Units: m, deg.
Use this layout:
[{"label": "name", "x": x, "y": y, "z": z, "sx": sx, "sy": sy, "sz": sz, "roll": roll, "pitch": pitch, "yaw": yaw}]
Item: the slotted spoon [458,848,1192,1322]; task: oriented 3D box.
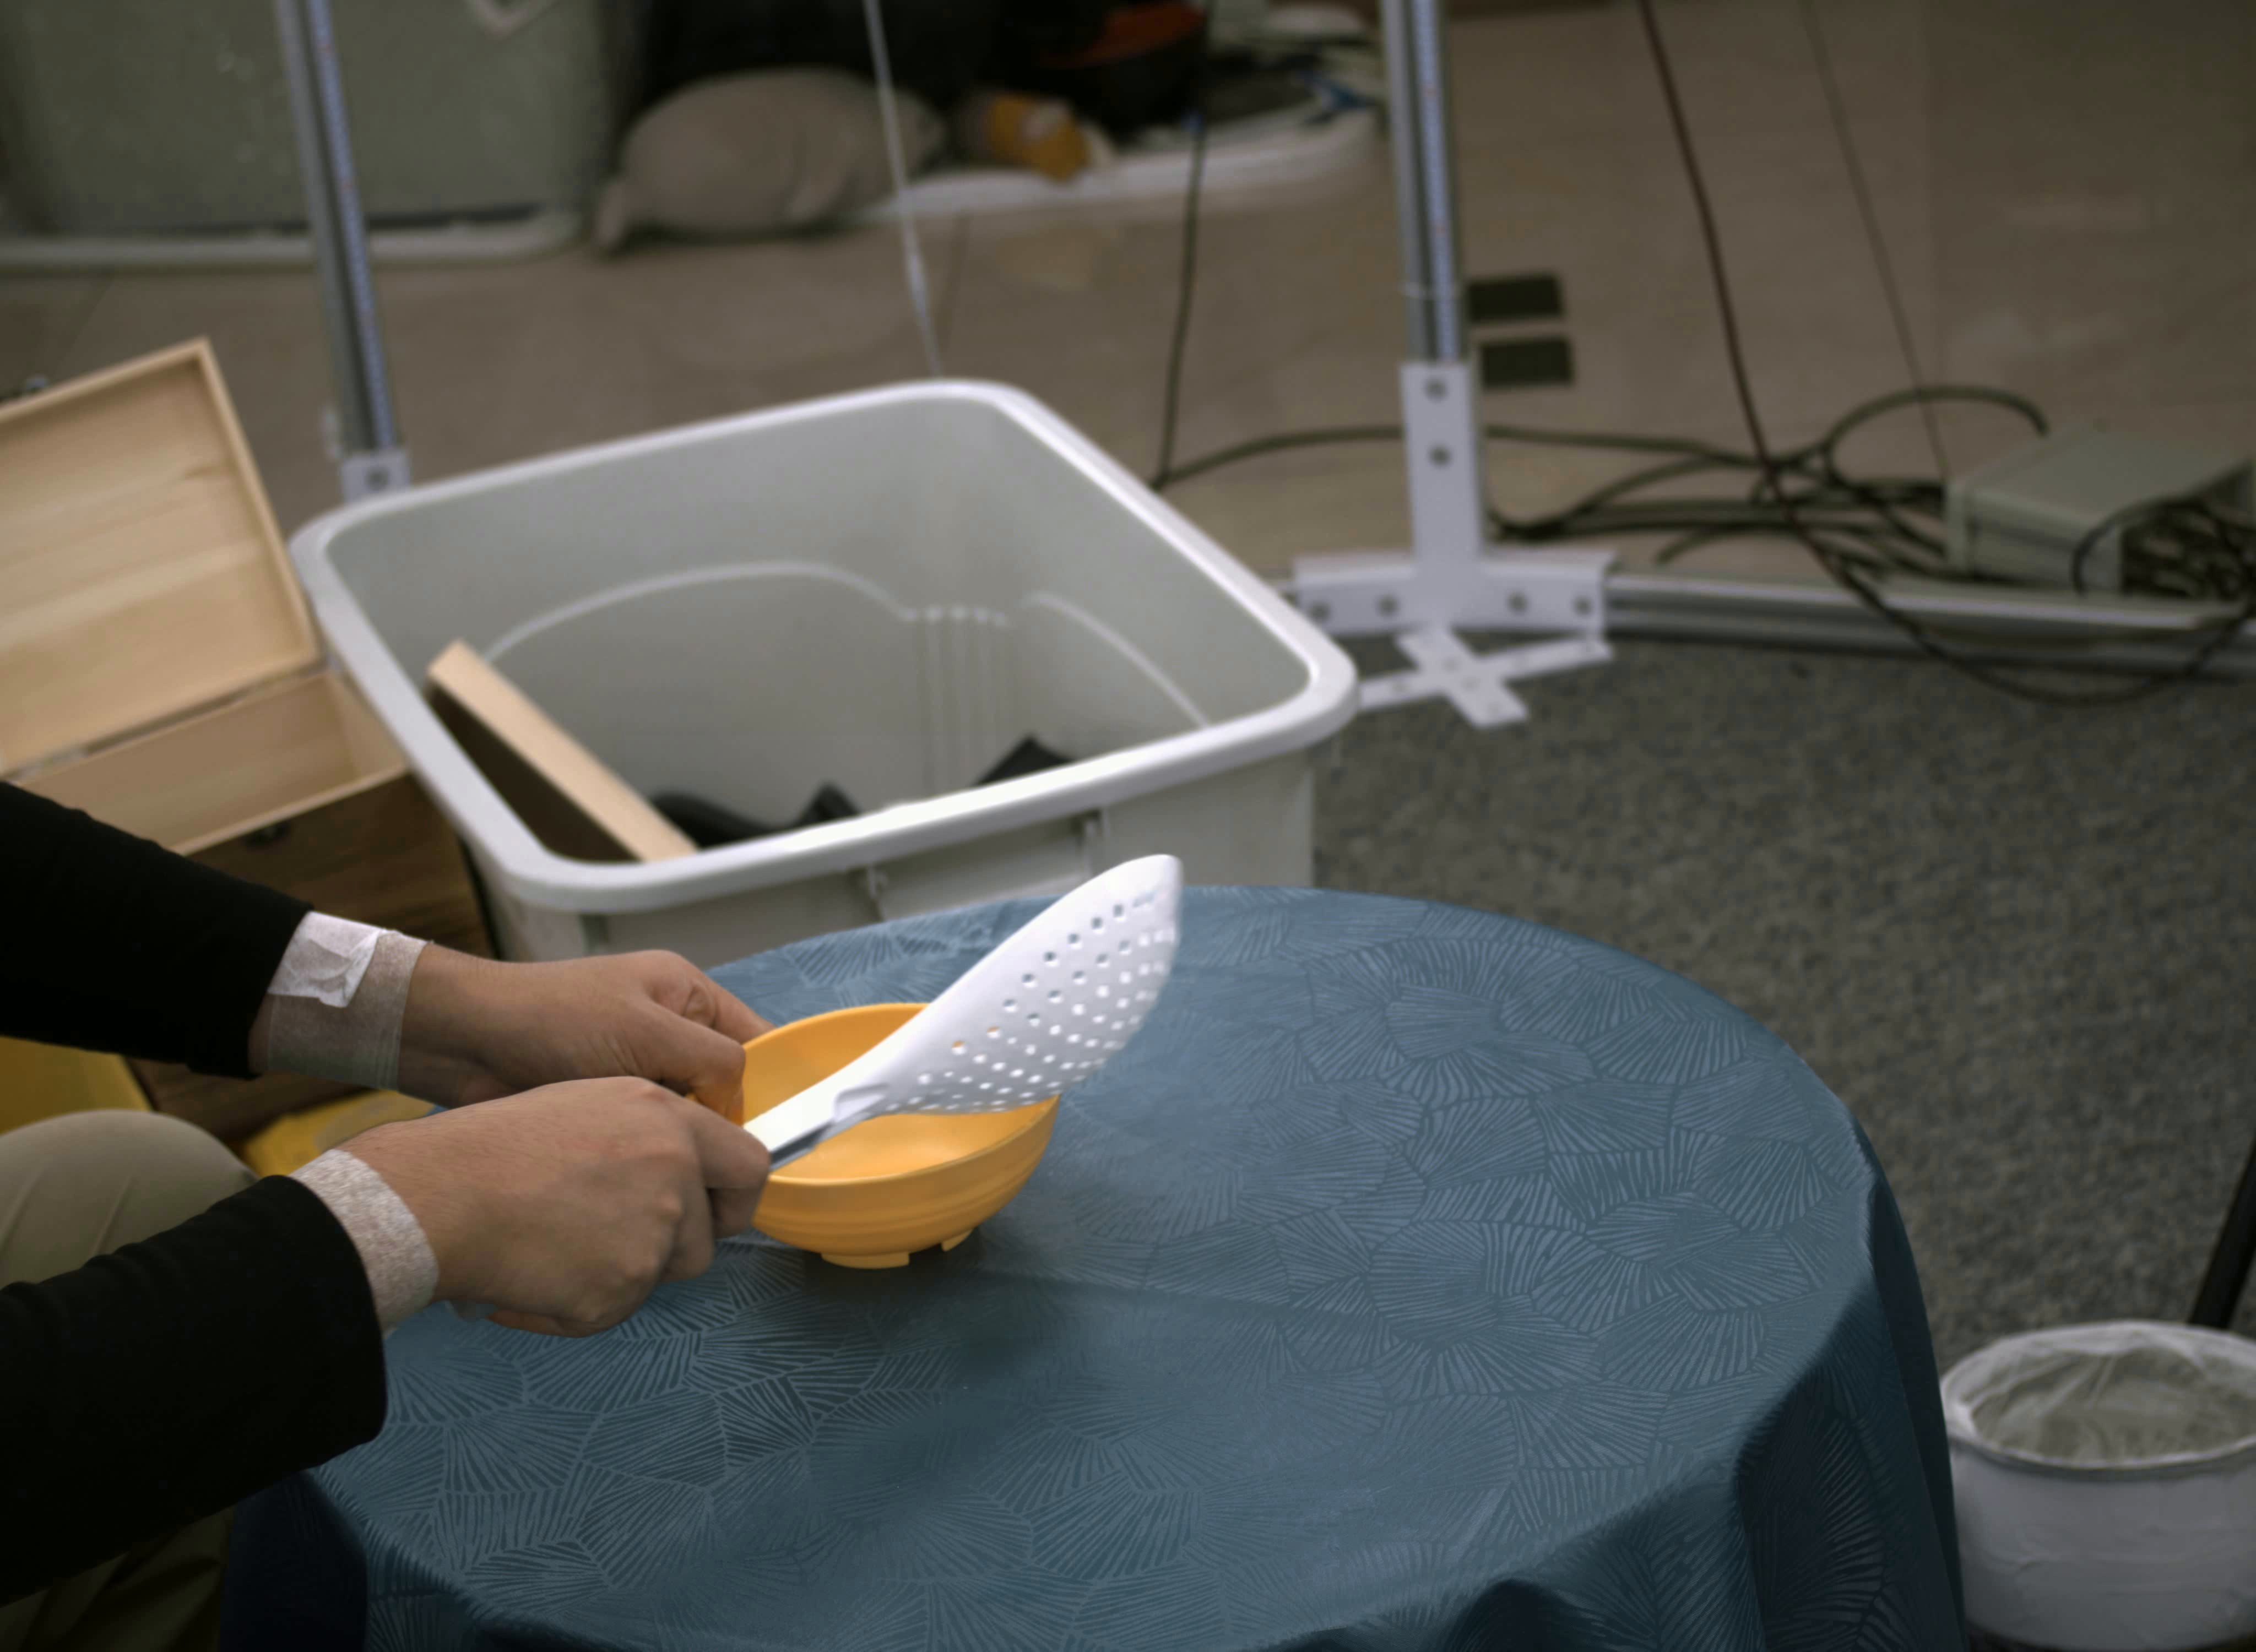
[{"label": "slotted spoon", "x": -0.099, "y": 0.096, "z": 1.994, "sx": 0.347, "sy": 0.138, "sz": 0.045, "roll": -21, "pitch": 65, "yaw": -39}]

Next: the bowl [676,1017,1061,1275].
[{"label": "bowl", "x": -0.095, "y": 0.127, "z": 2.129, "sx": 0.145, "sy": 0.061, "sz": 0.143, "roll": -4, "pitch": 23, "yaw": 2}]
